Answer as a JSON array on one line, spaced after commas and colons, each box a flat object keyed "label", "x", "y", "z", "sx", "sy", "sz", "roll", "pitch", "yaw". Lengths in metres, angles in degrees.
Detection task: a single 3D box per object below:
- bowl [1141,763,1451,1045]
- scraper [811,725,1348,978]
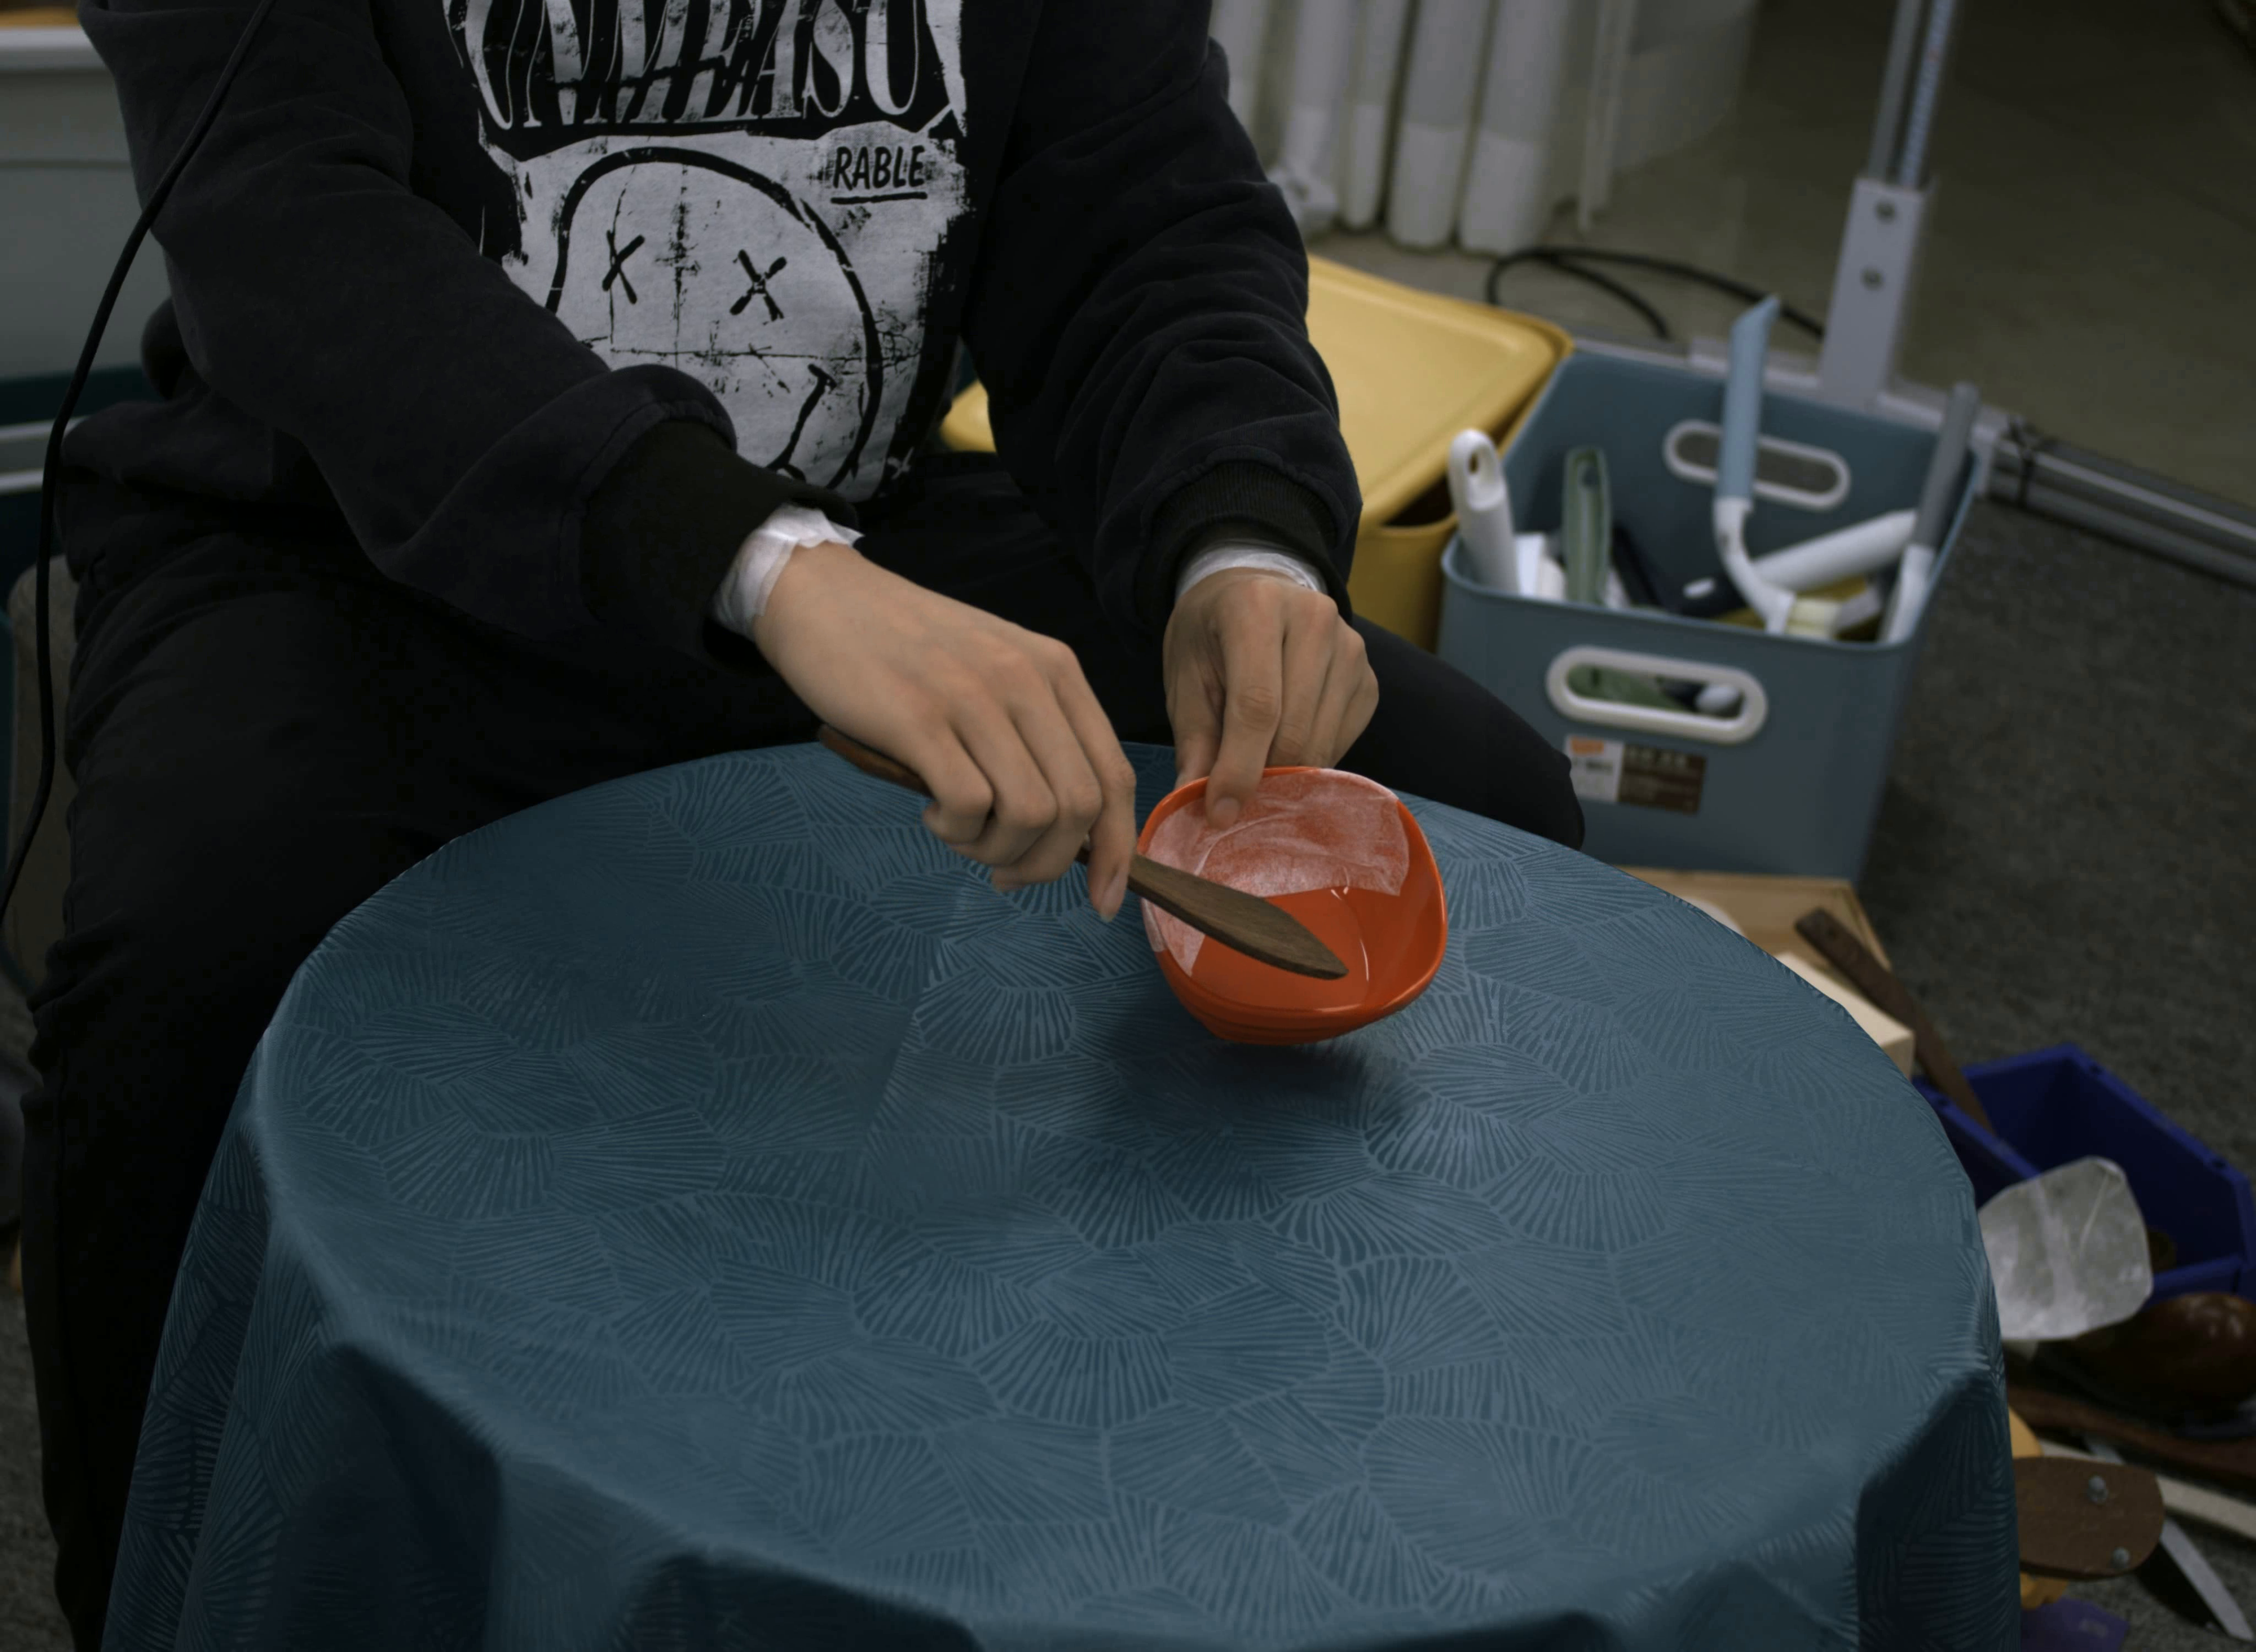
[{"label": "bowl", "x": 0.056, "y": 0.036, "z": 1.903, "sx": 0.118, "sy": 0.051, "sz": 0.120, "roll": 5, "pitch": 53, "yaw": -7}, {"label": "scraper", "x": -0.019, "y": 0.007, "z": 1.807, "sx": 0.209, "sy": 0.011, "sz": 0.076, "roll": 23, "pitch": 11, "yaw": -30}]
